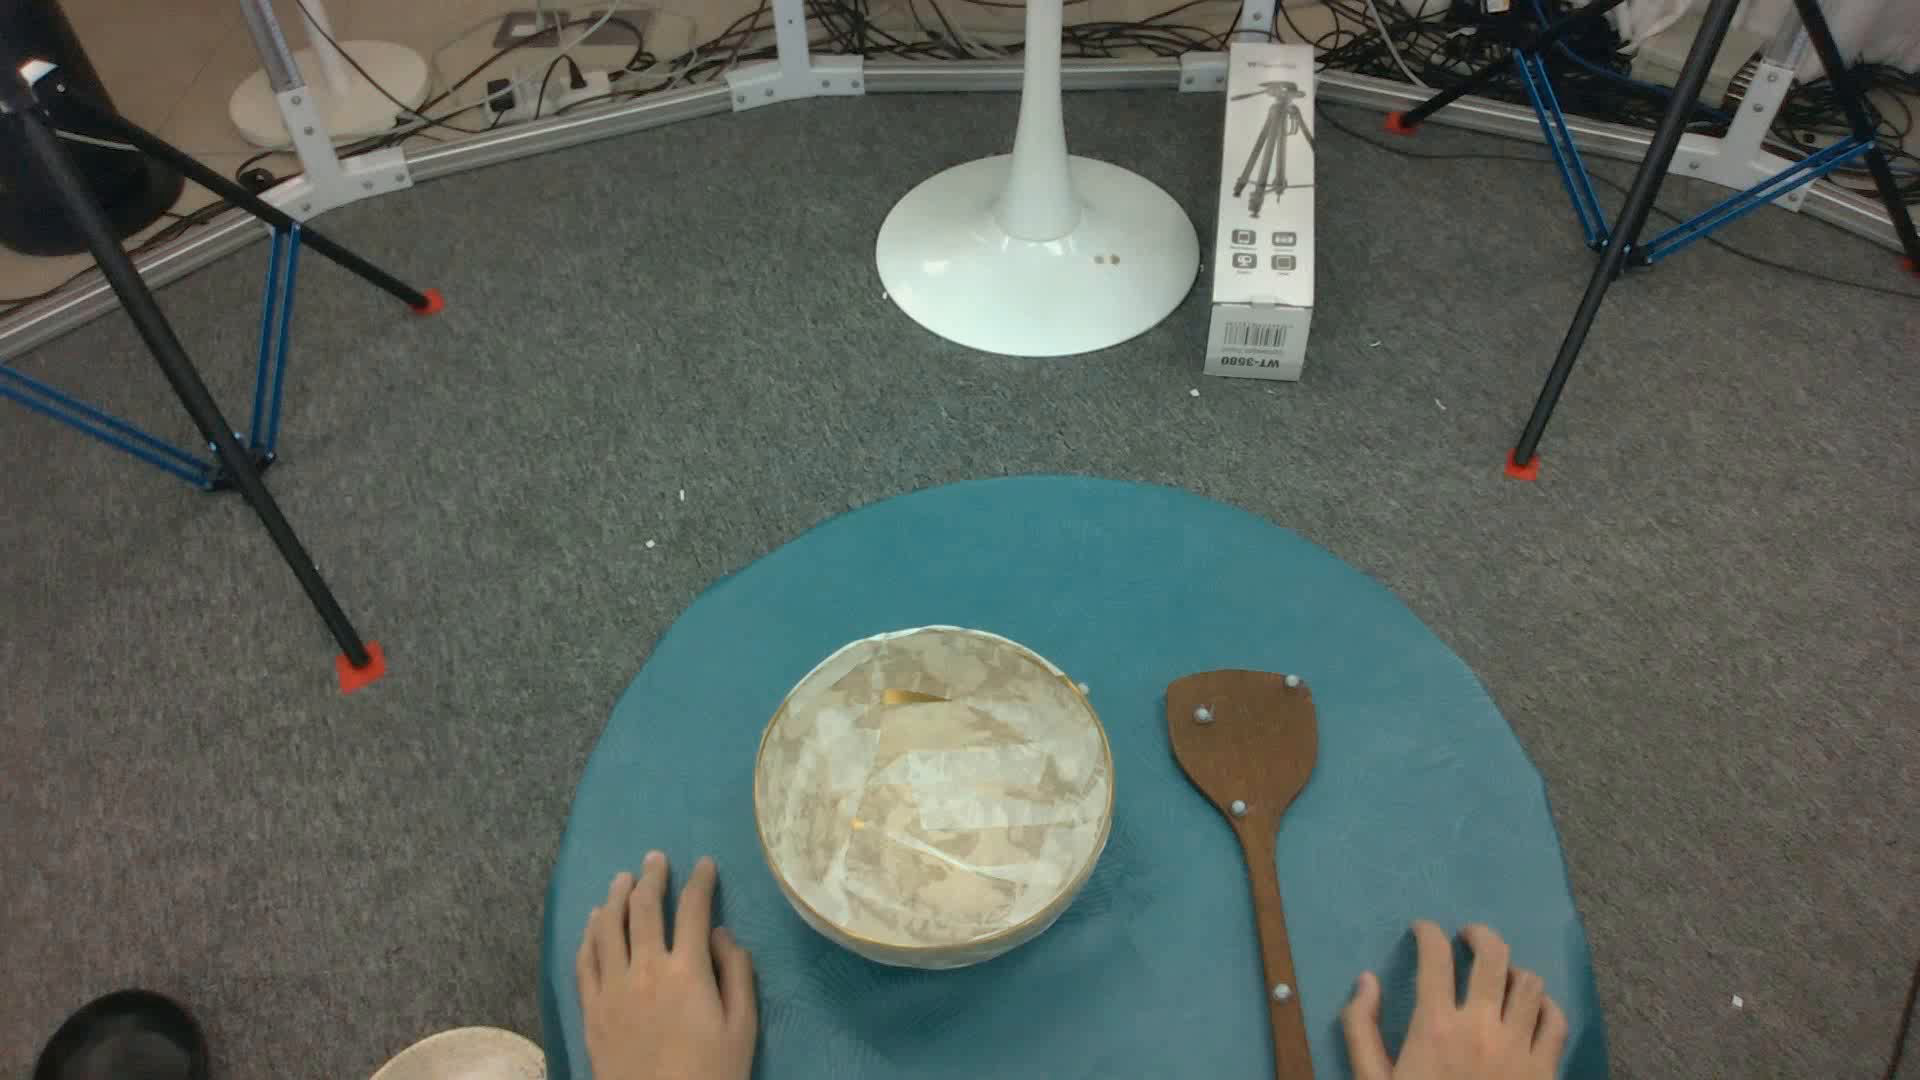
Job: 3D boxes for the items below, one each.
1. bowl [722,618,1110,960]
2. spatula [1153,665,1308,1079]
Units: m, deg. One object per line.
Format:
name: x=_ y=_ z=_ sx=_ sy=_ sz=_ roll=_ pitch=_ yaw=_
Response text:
bowl: x=-0.022 y=0.155 z=0.786 sx=0.215 sy=0.094 sz=0.215 roll=1 pitch=50 yaw=-1
spatula: x=0.172 y=0.230 z=0.770 sx=0.096 sy=0.016 sz=0.388 roll=-1 pitch=49 yaw=0
